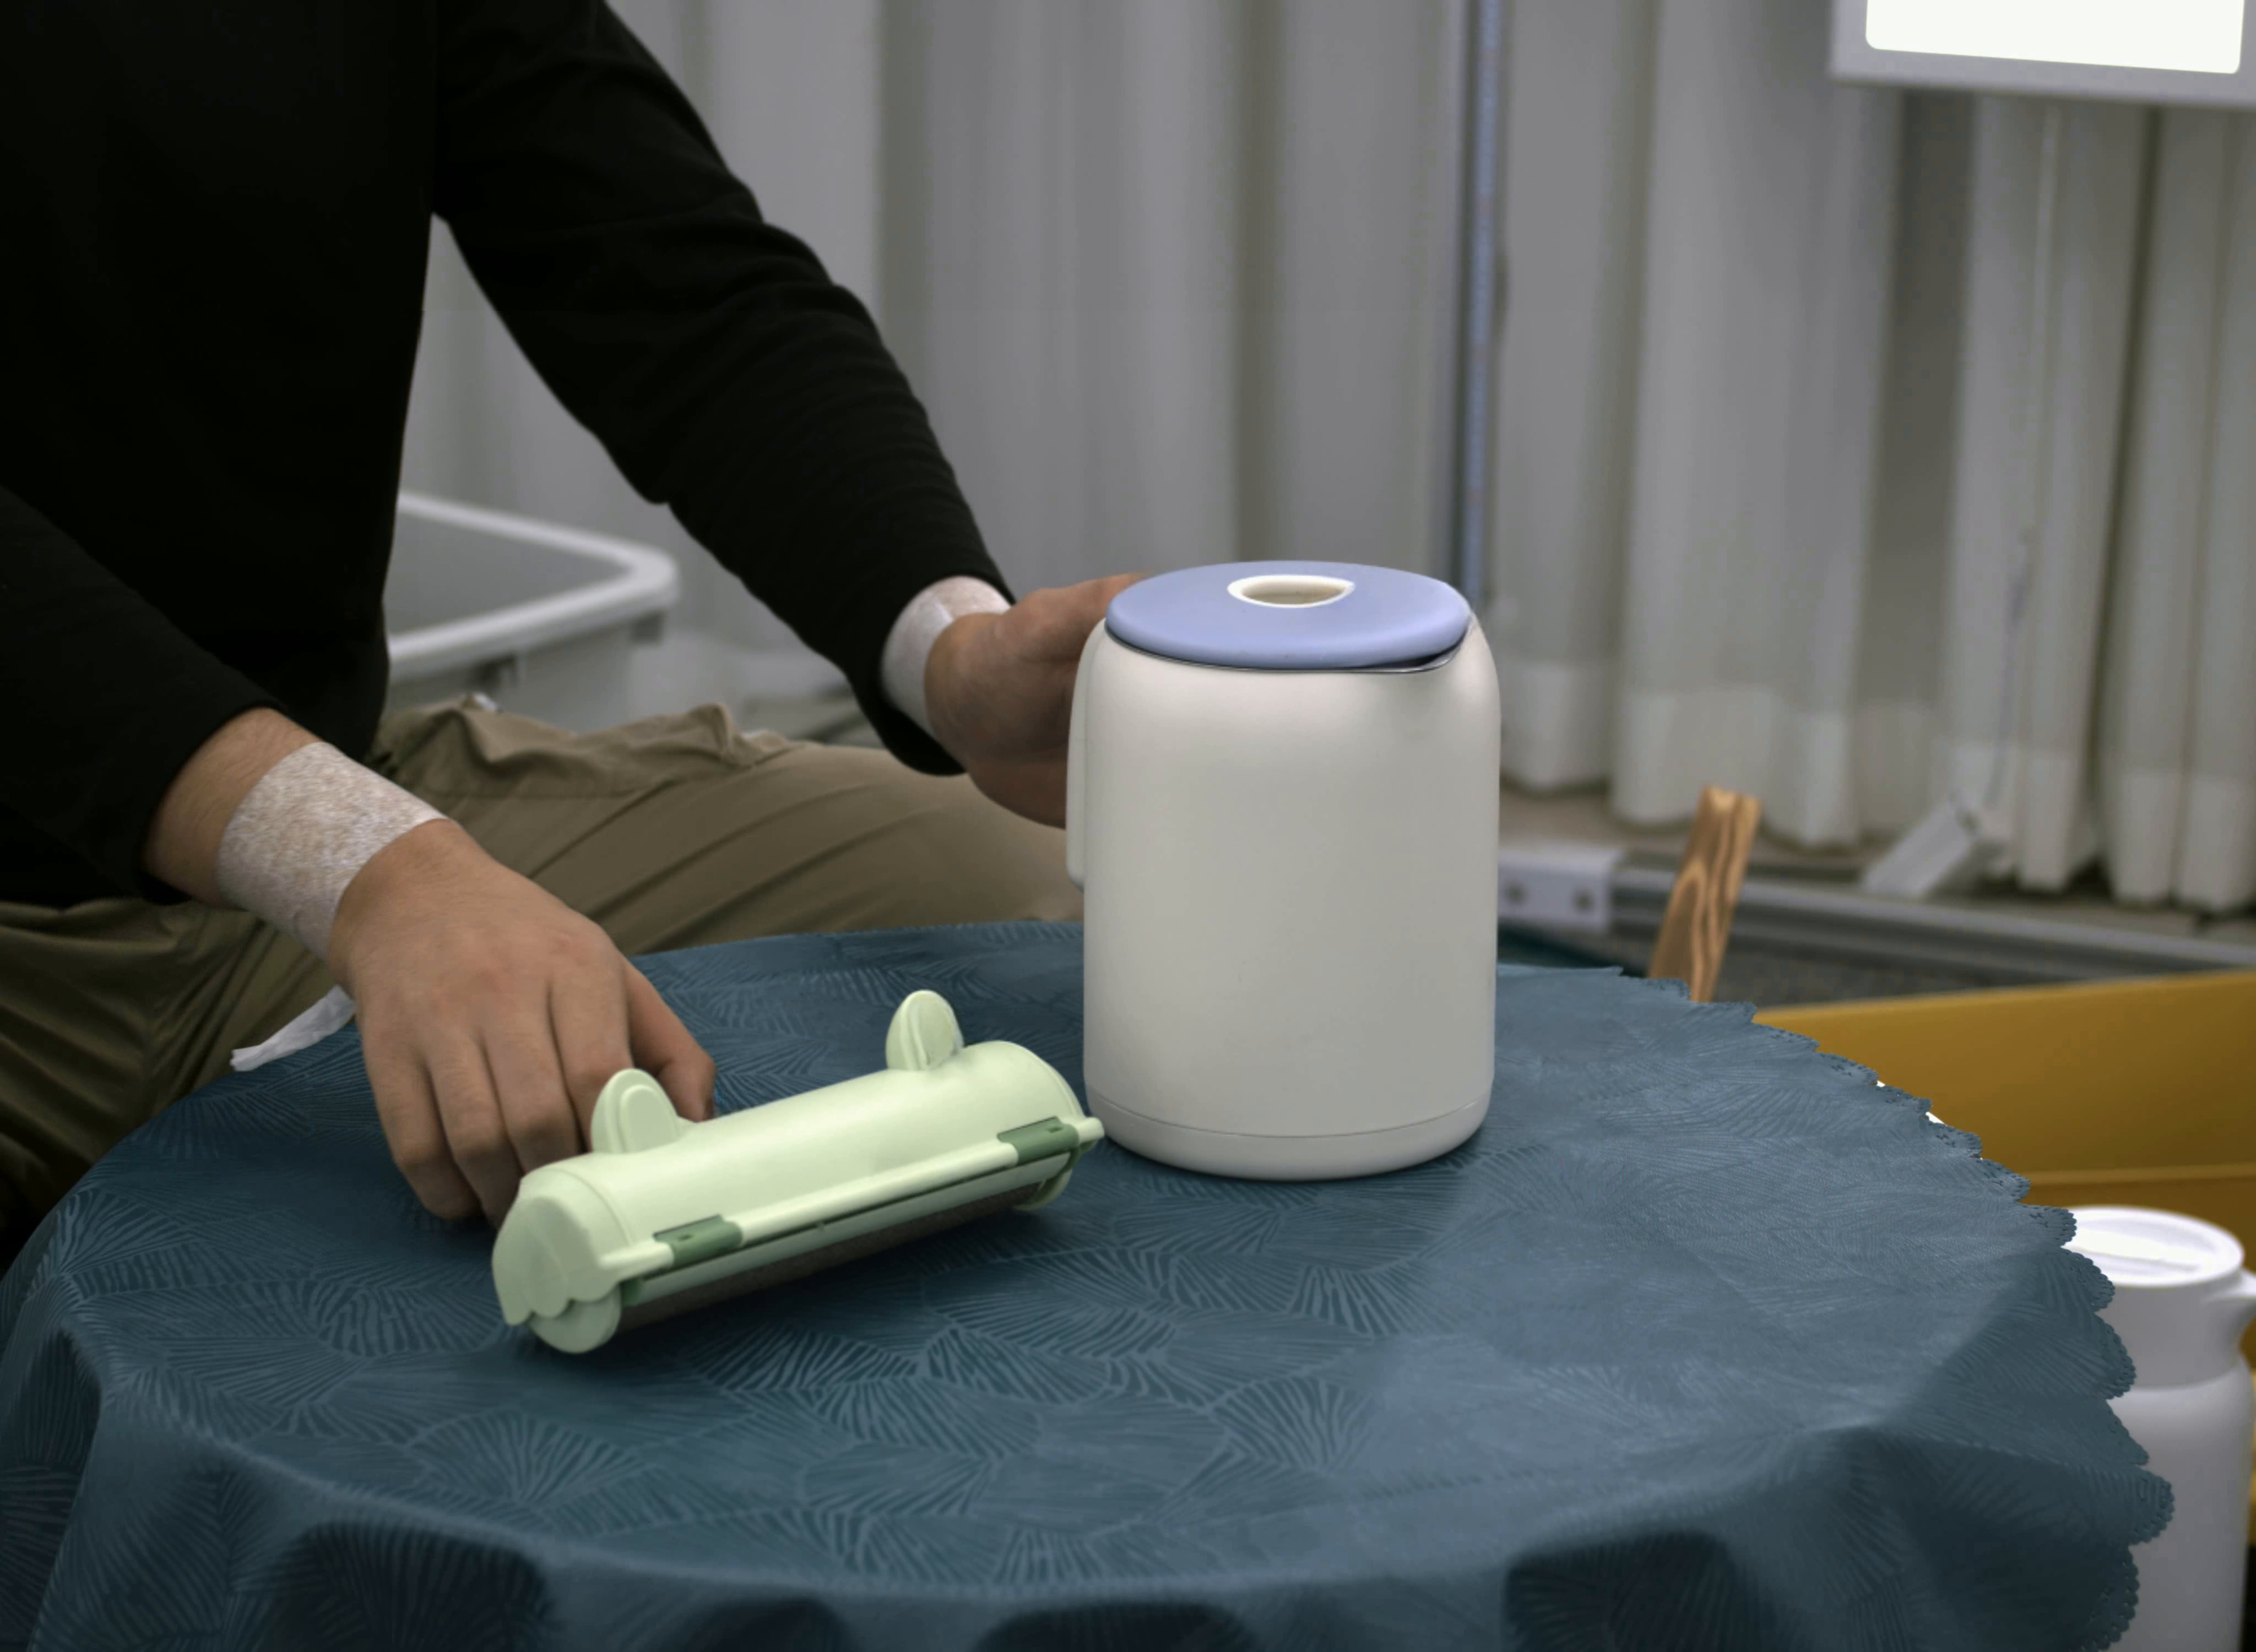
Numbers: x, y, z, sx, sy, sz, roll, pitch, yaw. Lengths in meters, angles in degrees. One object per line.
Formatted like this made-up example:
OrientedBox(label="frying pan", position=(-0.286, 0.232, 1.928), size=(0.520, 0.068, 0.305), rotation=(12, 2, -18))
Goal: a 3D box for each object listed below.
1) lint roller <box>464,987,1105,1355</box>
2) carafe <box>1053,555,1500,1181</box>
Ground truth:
OrientedBox(label="lint roller", position=(-0.135, 0.087, 1.564), size=(0.181, 0.083, 0.199), rotation=(18, 22, 40))
OrientedBox(label="carafe", position=(0.037, 0.007, 1.679), size=(0.133, 0.184, 0.188), rotation=(-11, 17, -35))
